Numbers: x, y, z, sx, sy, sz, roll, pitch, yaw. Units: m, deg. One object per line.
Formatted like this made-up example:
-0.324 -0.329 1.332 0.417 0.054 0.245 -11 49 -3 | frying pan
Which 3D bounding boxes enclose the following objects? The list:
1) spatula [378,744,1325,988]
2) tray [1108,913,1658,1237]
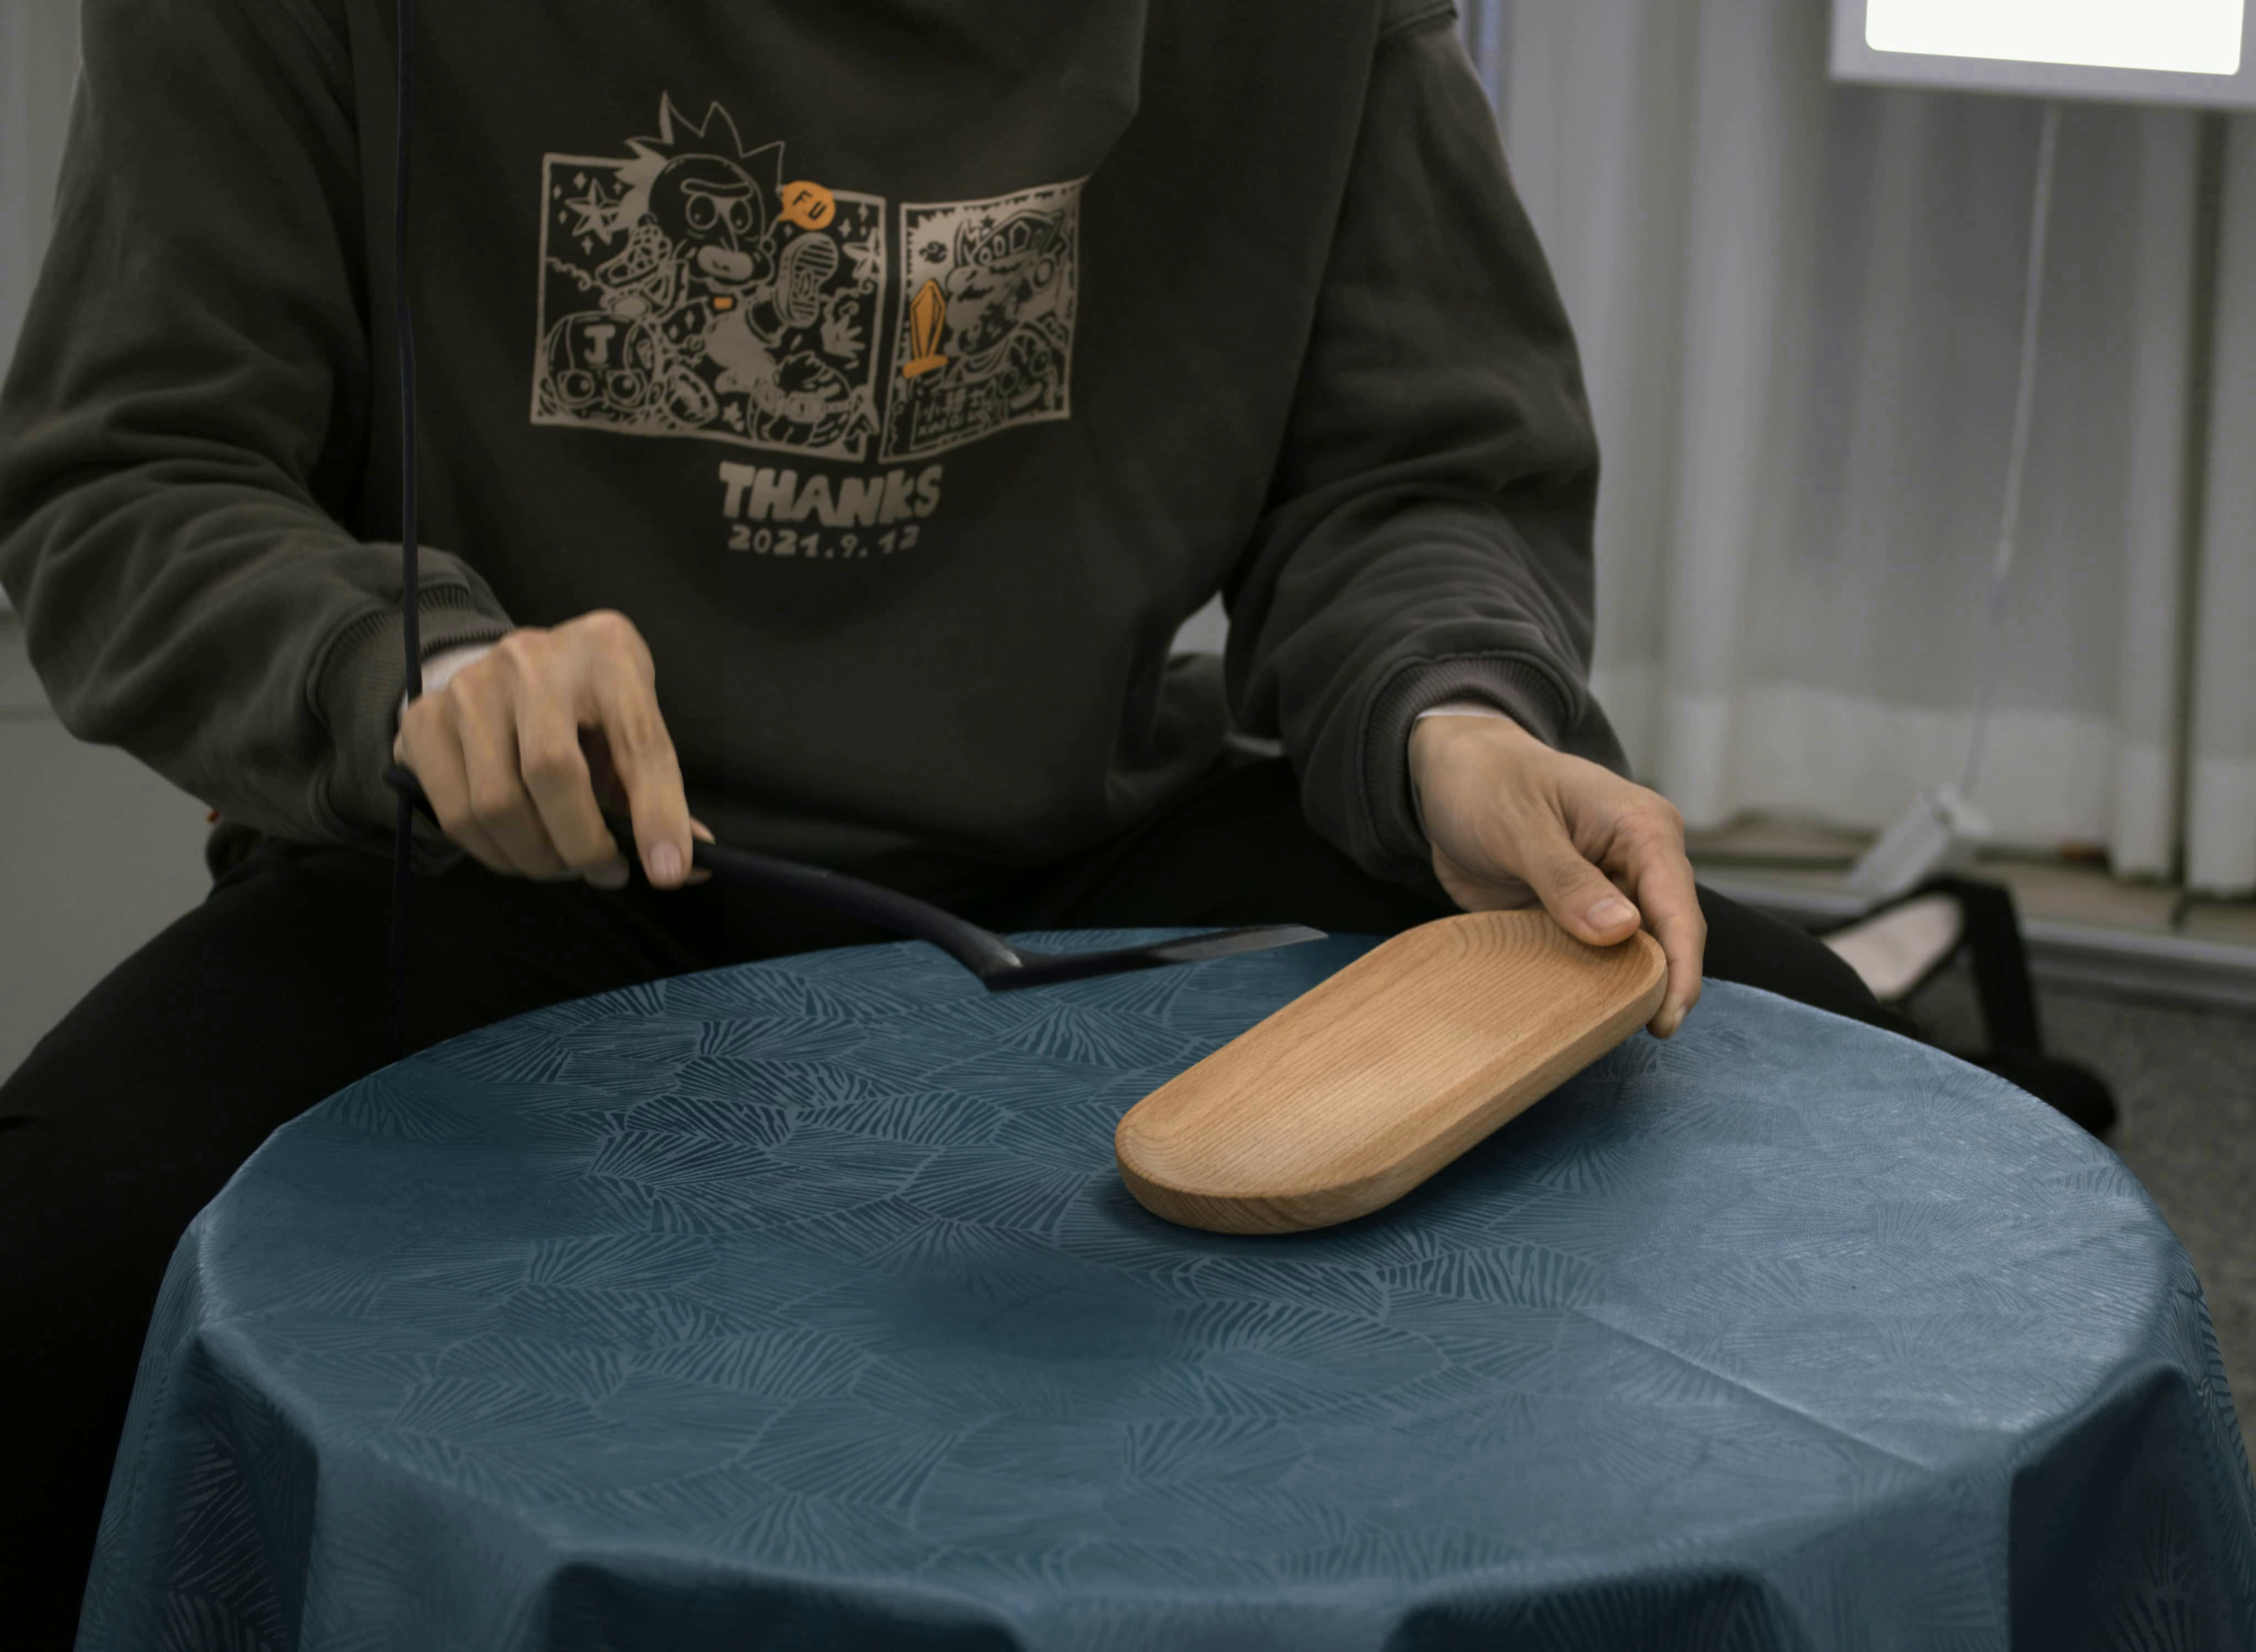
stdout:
-0.098 0.008 1.613 0.322 0.040 0.100 18 10 26 | spatula
0.084 0.077 1.671 0.100 0.020 0.231 10 27 36 | tray
